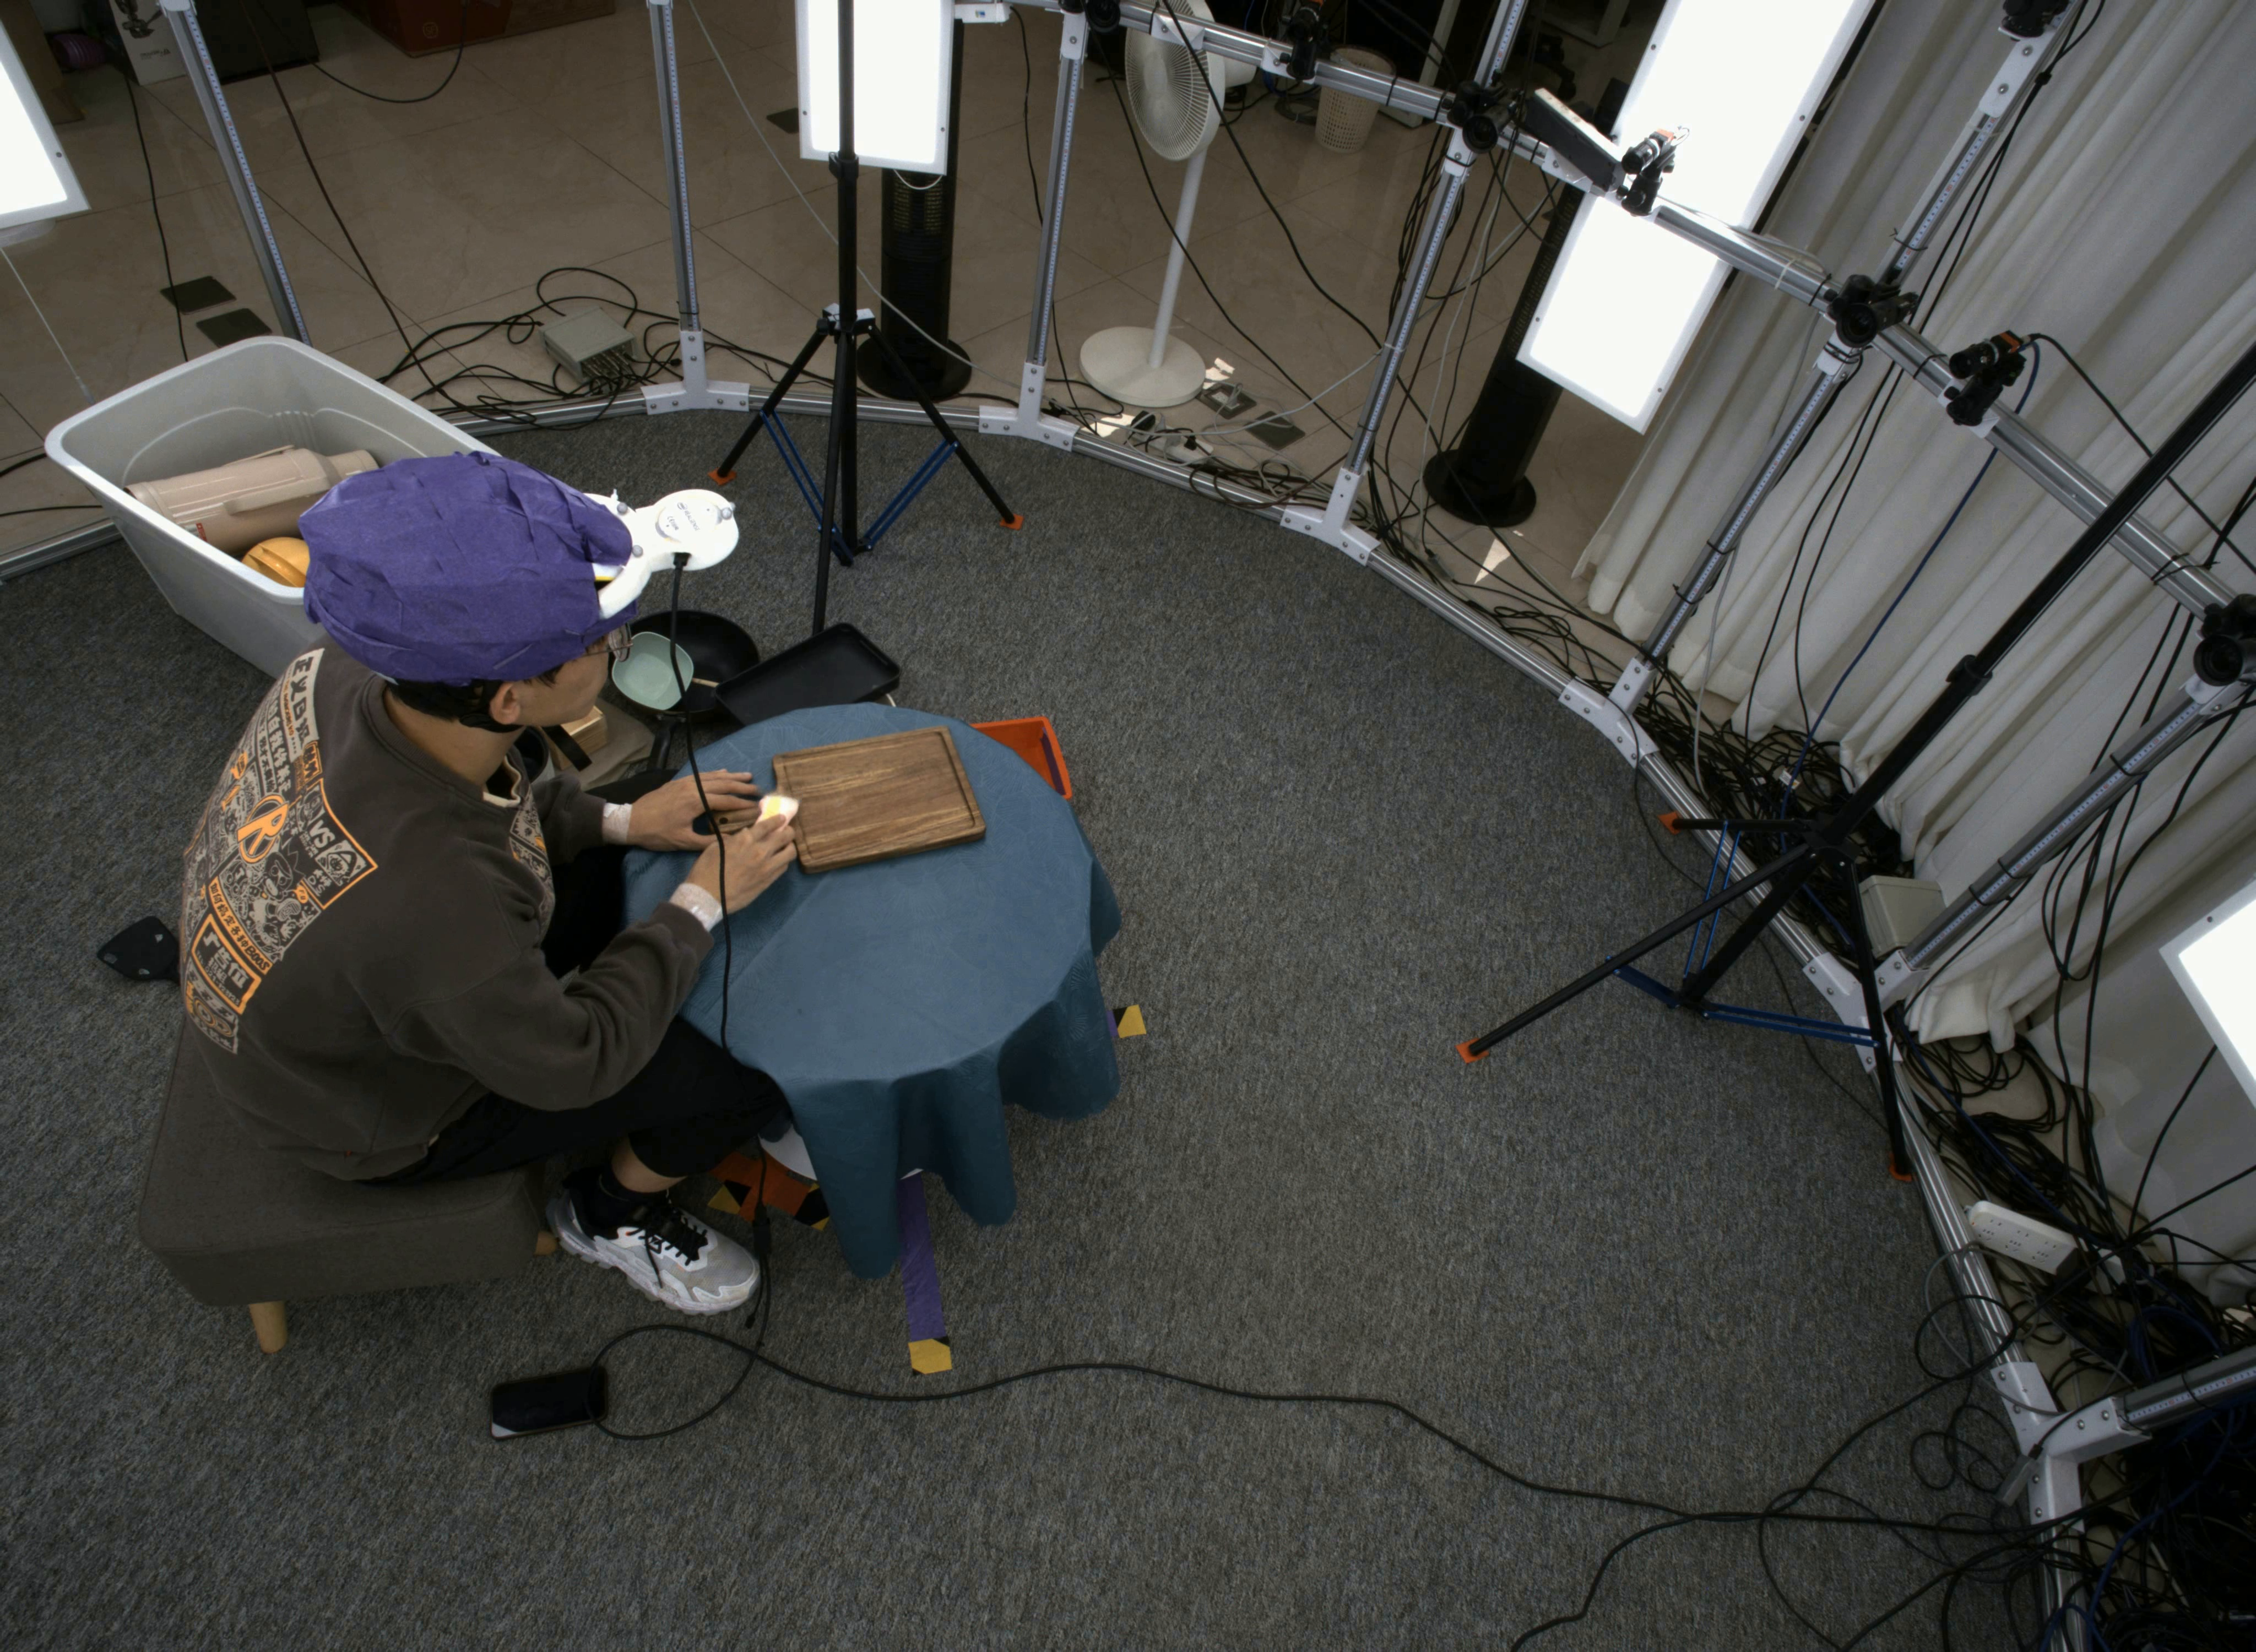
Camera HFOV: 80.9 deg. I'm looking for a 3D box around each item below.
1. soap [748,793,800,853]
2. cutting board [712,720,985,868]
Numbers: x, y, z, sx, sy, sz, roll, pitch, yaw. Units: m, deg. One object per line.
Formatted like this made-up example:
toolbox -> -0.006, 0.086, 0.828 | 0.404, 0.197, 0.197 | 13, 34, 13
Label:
soap -> -0.461, -0.005, 1.686 | 0.050, 0.031, 0.093 | 11, 50, -3
cutting board -> -0.386, -0.040, 1.764 | 0.353, 0.023, 0.196 | -11, 58, -21
